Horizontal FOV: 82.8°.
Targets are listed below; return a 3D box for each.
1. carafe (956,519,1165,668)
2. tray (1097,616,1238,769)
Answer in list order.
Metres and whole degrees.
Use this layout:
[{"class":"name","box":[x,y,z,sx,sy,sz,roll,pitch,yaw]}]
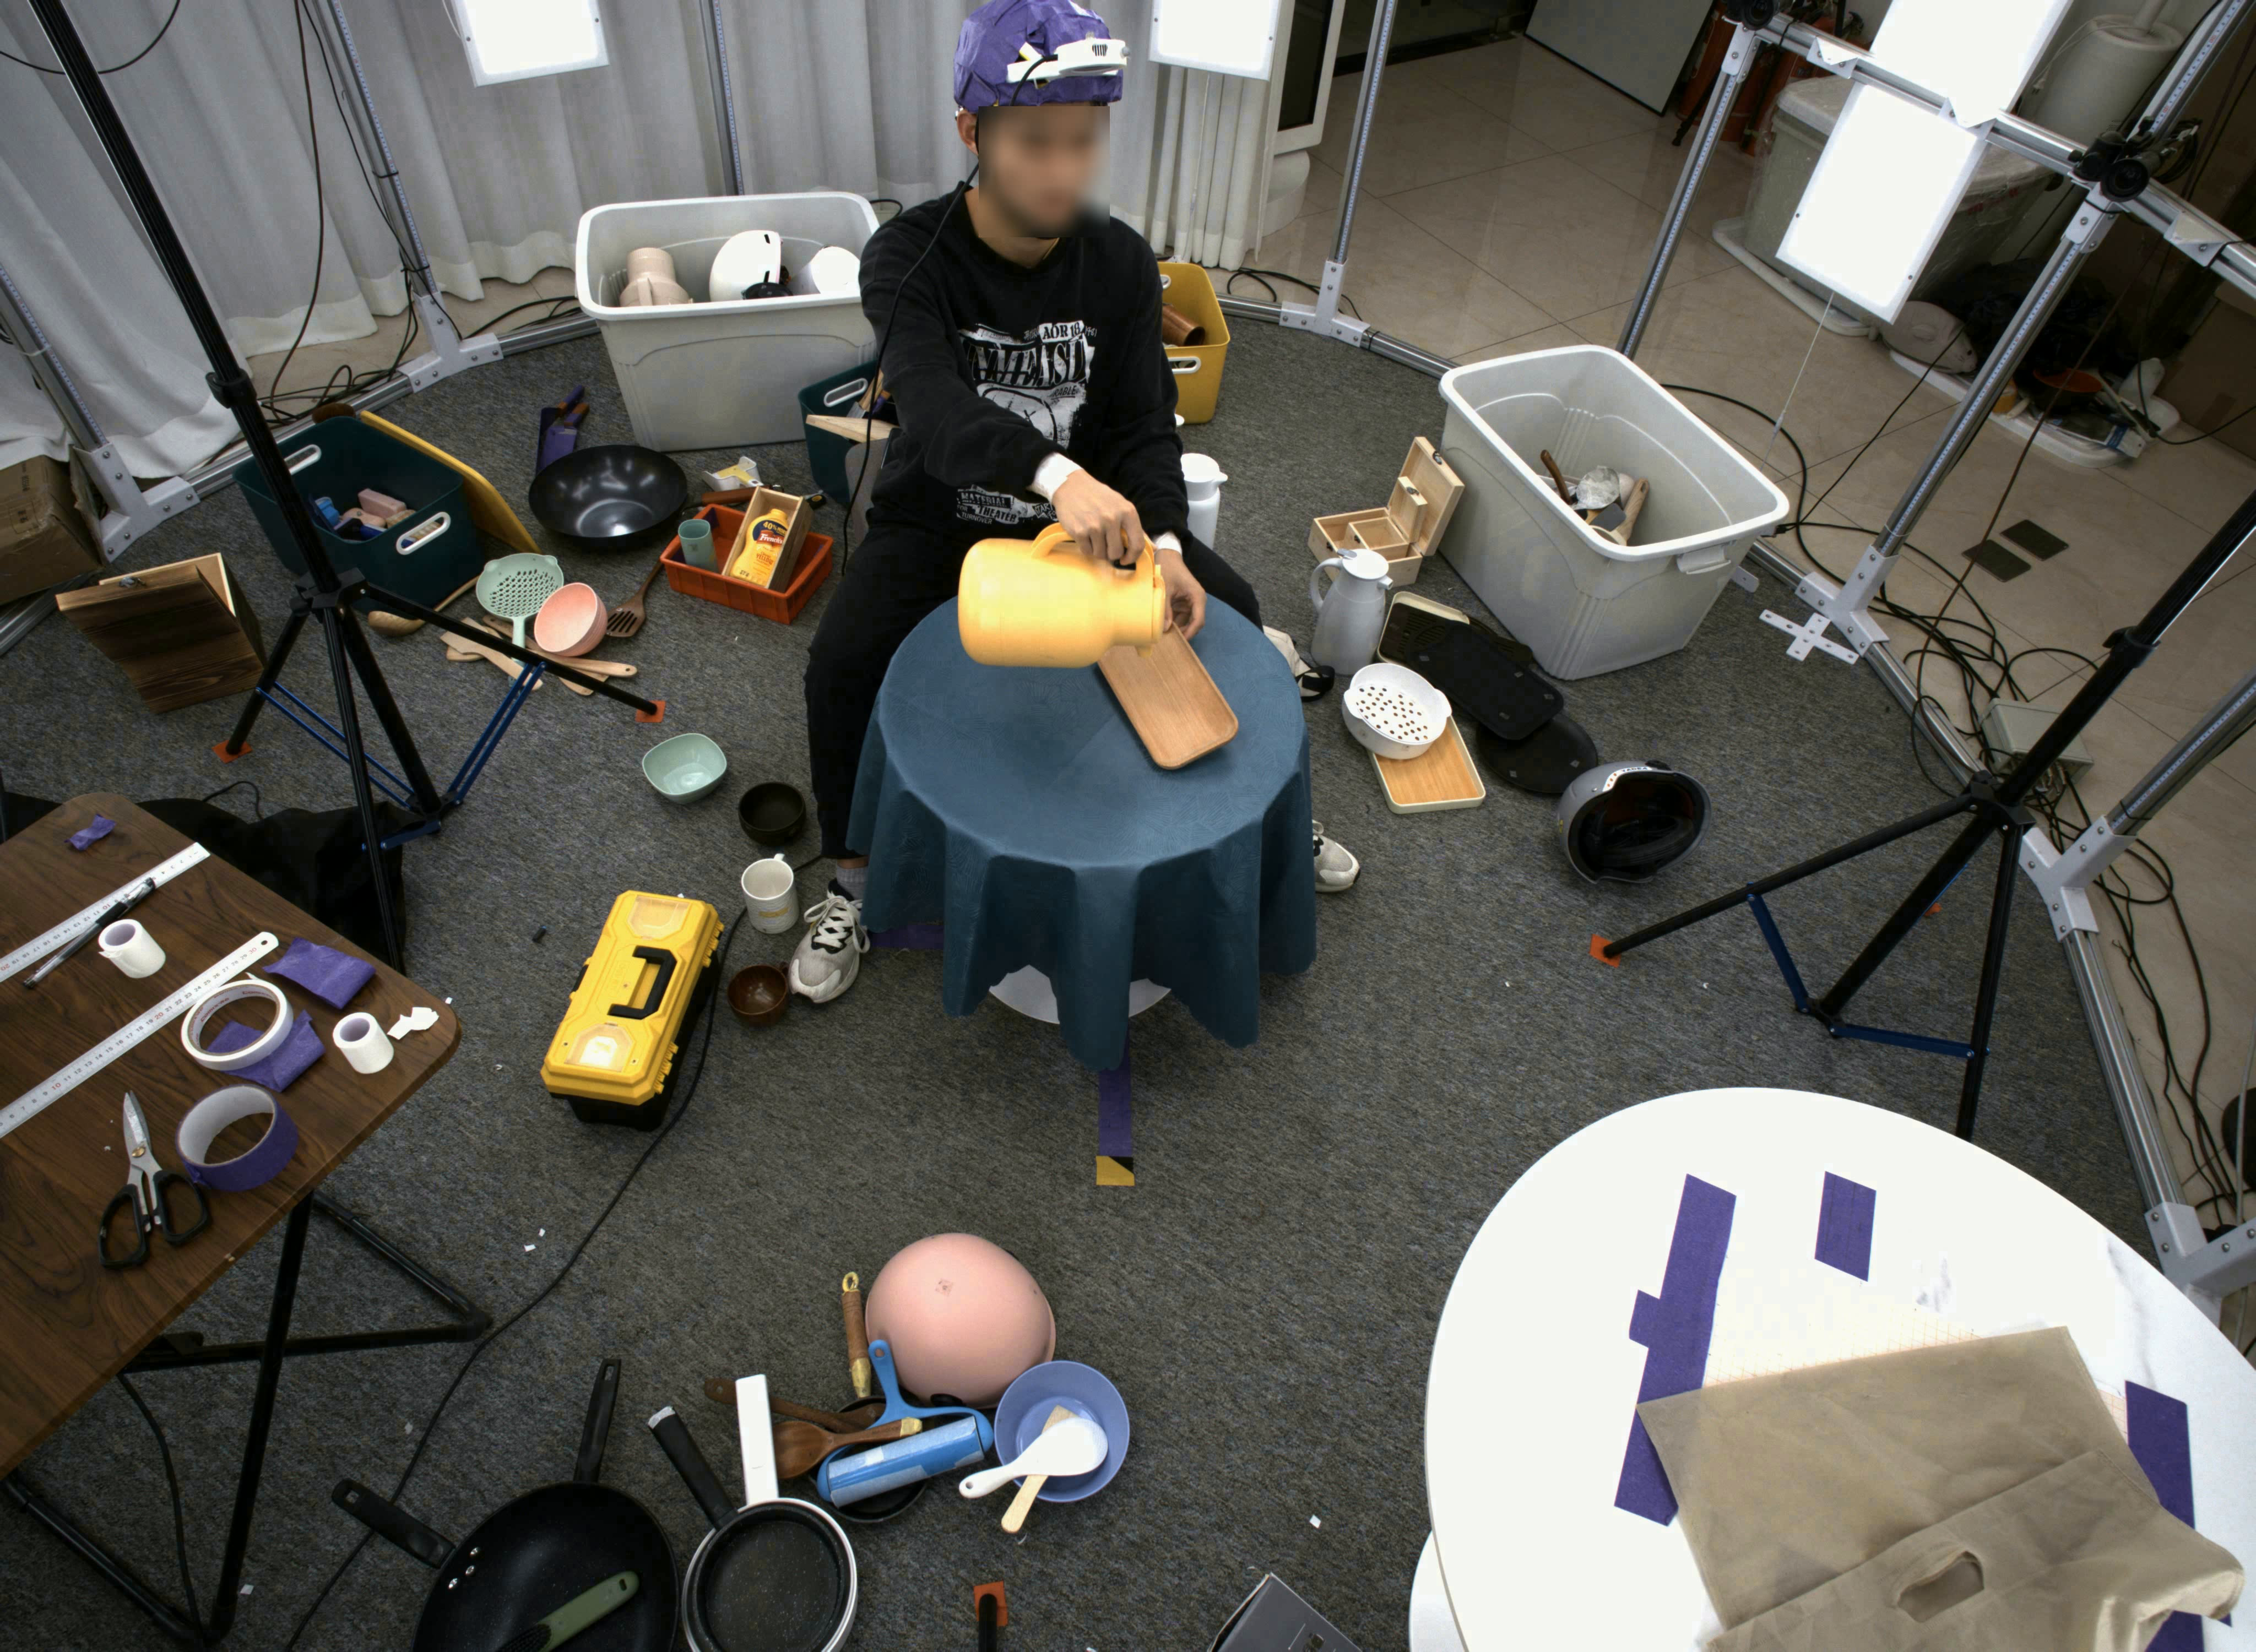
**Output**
[{"class":"carafe","box":[-0.082,-0.299,1.637,0.260,0.197,0.167,4,42,0]},{"class":"tray","box":[0.053,-0.190,1.800,0.130,0.022,0.256,-24,55,-4]}]
